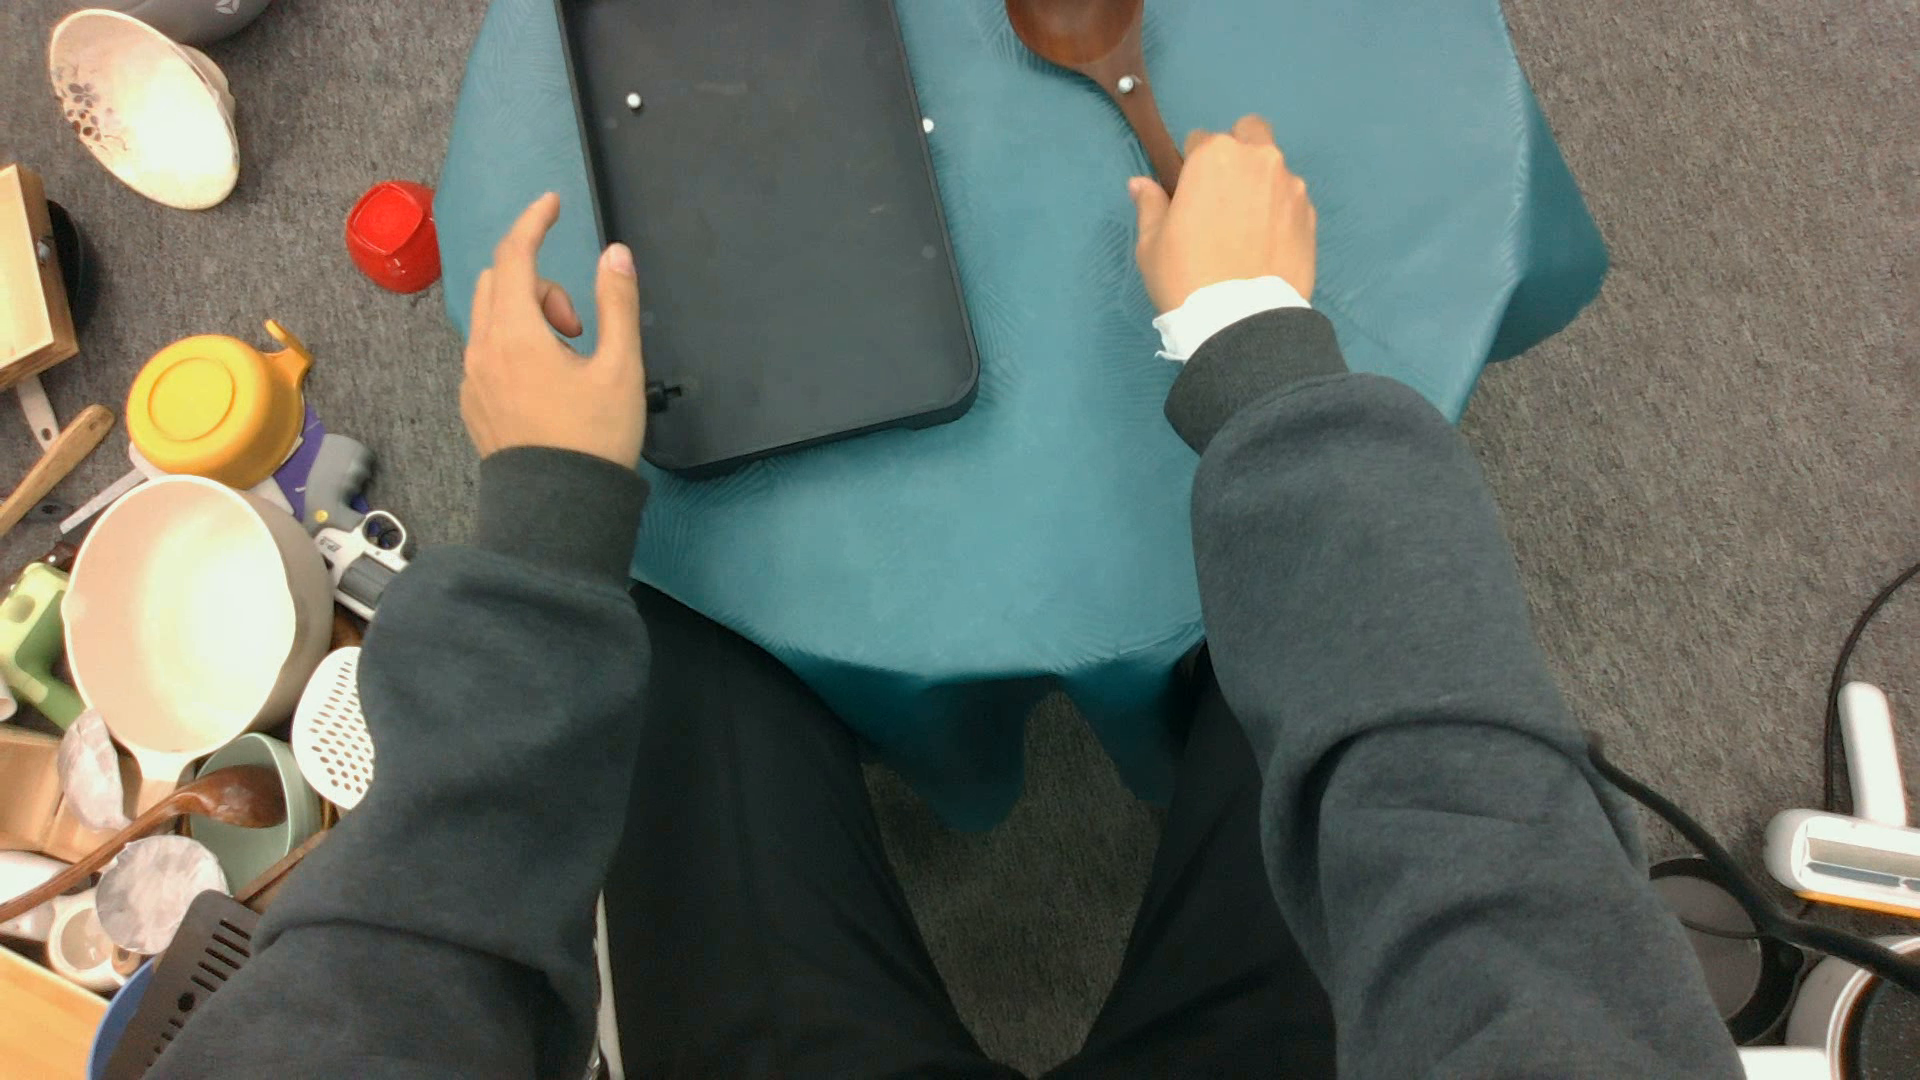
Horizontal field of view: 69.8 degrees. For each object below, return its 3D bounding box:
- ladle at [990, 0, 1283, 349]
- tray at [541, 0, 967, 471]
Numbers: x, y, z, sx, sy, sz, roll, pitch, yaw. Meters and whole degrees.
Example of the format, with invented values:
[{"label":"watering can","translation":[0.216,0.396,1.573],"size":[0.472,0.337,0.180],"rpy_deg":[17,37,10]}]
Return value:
[{"label":"ladle","translation":[0.095,-0.215,0.724],"size":[0.076,0.065,0.260],"rpy_deg":[-32,76,26]},{"label":"tray","translation":[-0.115,-0.203,0.746],"size":[0.184,0.037,0.318],"rpy_deg":[-13,75,0]}]
